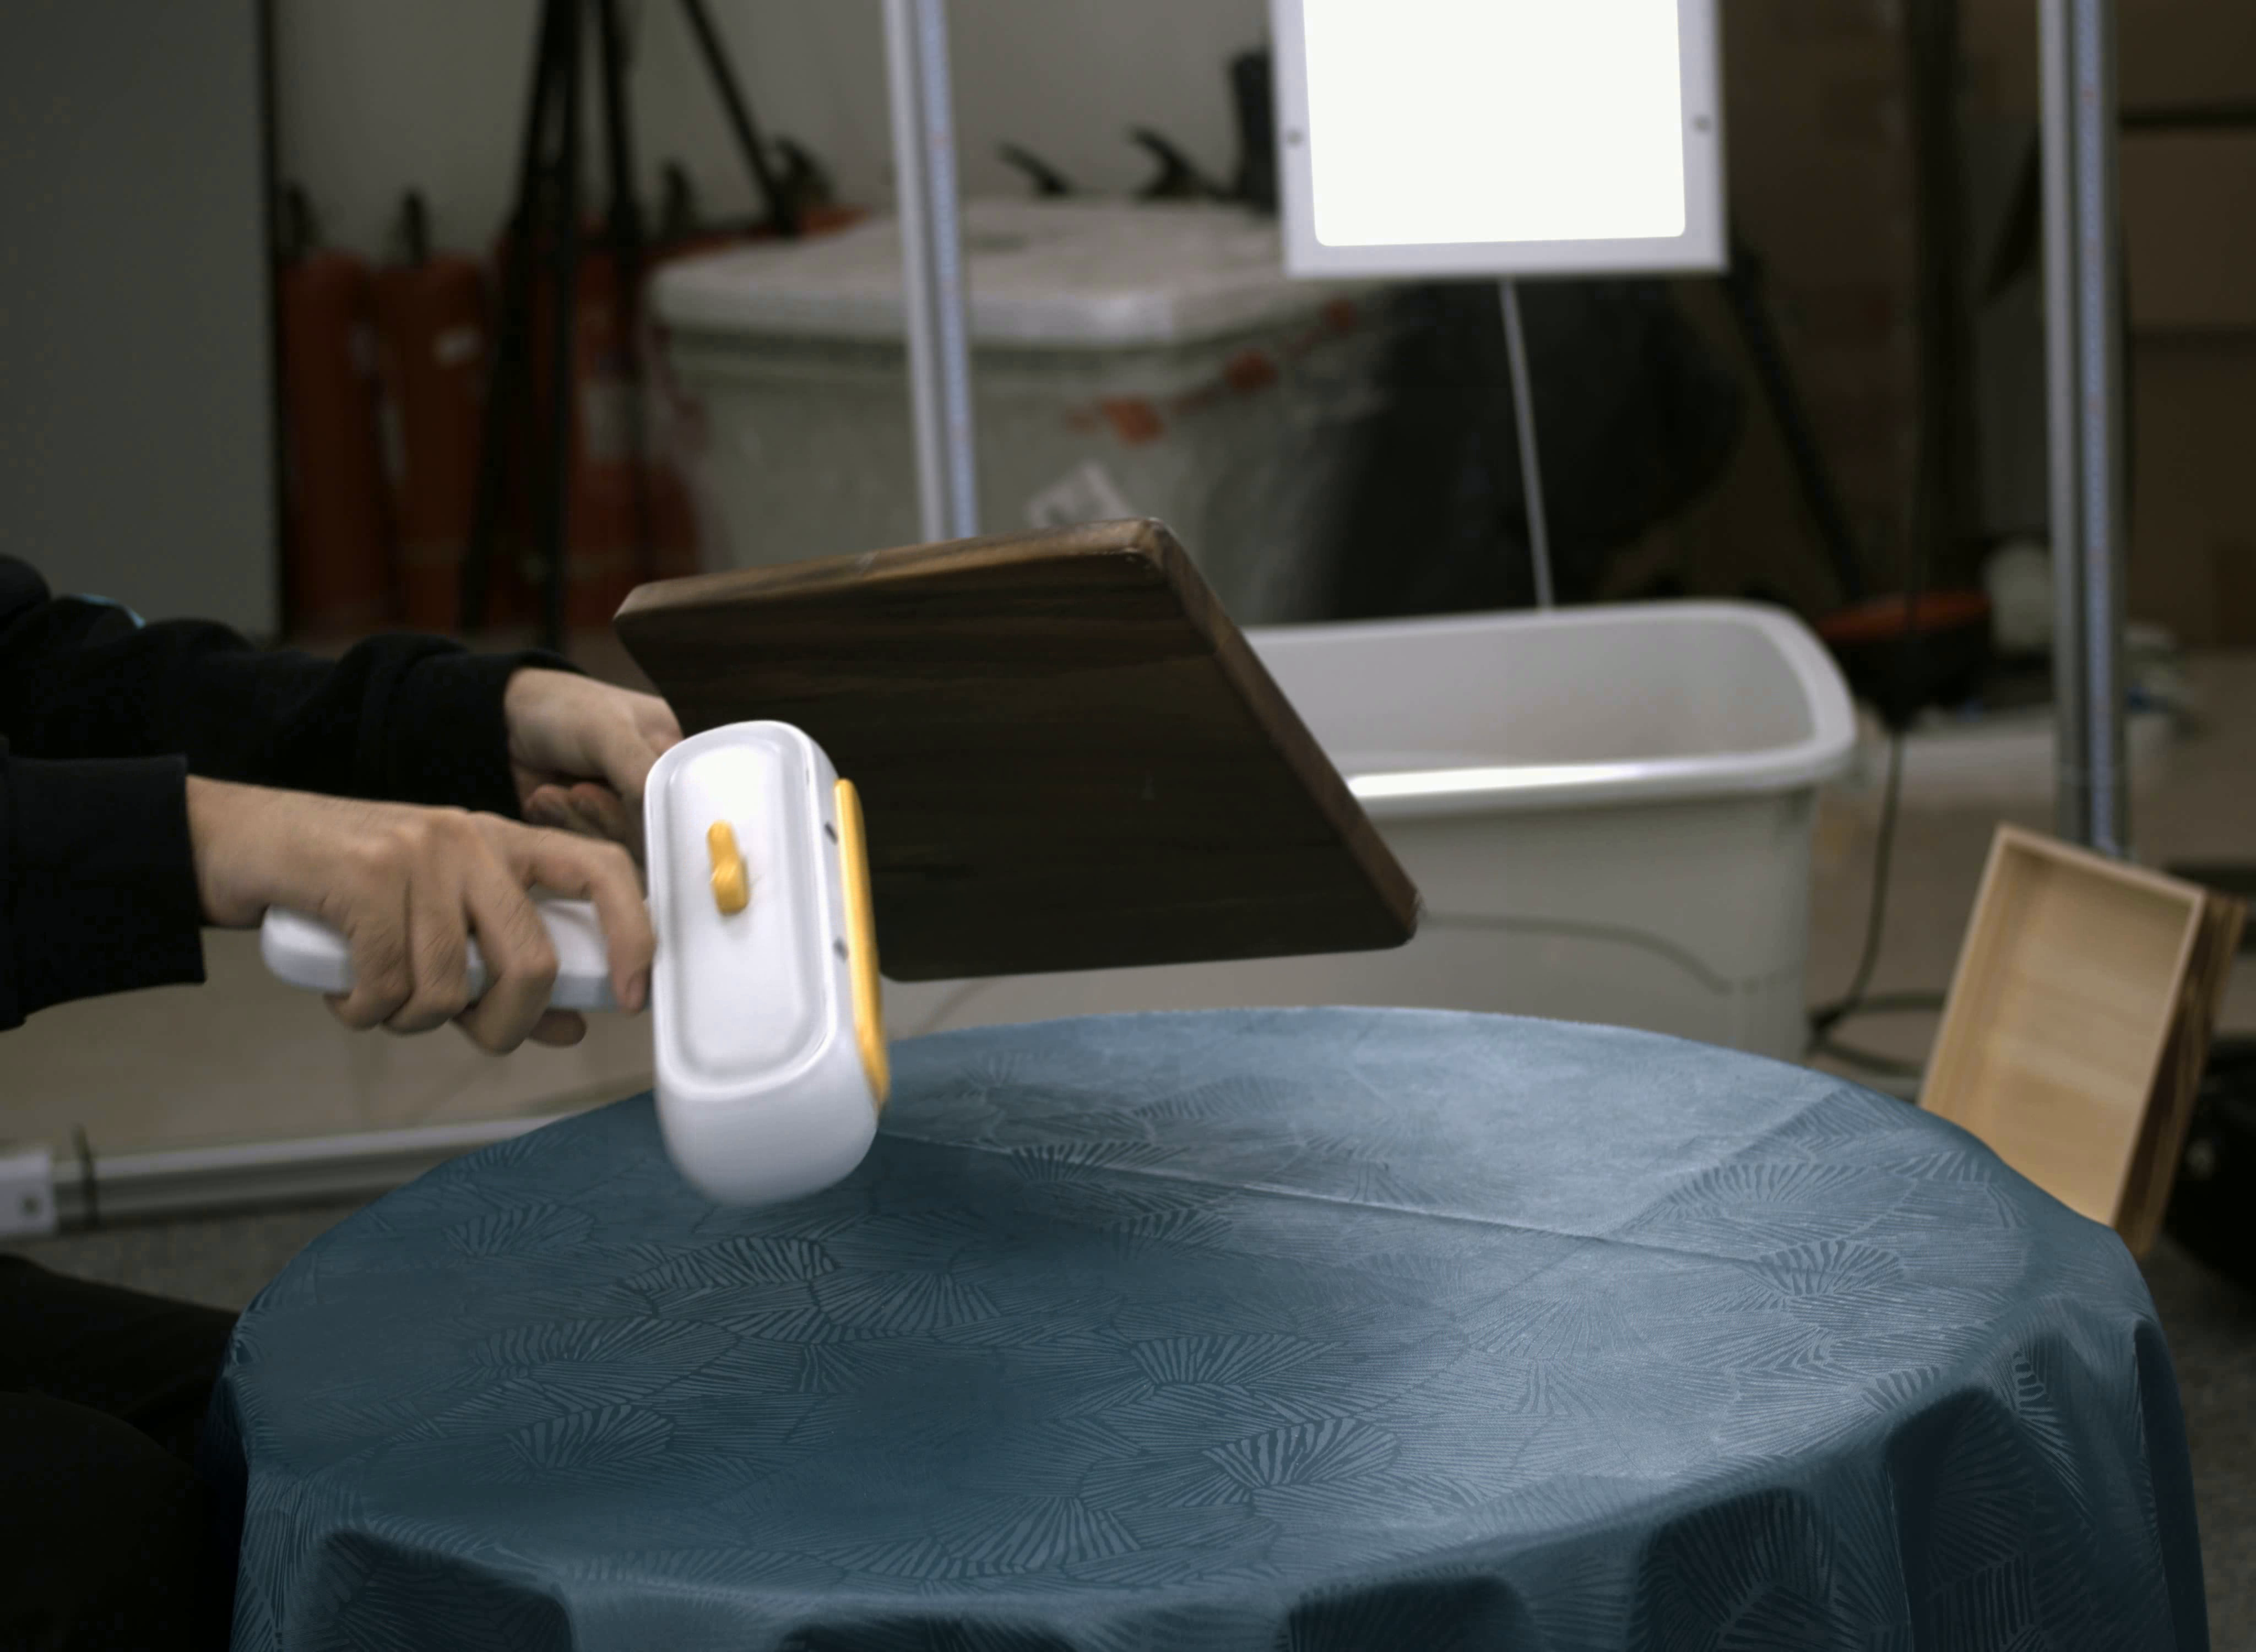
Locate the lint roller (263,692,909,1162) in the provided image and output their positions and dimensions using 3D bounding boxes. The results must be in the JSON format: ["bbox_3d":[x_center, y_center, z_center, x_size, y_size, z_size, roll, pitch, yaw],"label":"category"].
[{"bbox_3d":[-0.174,0.033,1.736,0.191,0.074,0.193,-9,43,-5],"label":"lint roller"}]

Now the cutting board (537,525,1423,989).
[{"bbox_3d":[-0.079,-0.016,1.965,0.360,0.199,0.023,-5,43,41],"label":"cutting board"}]
